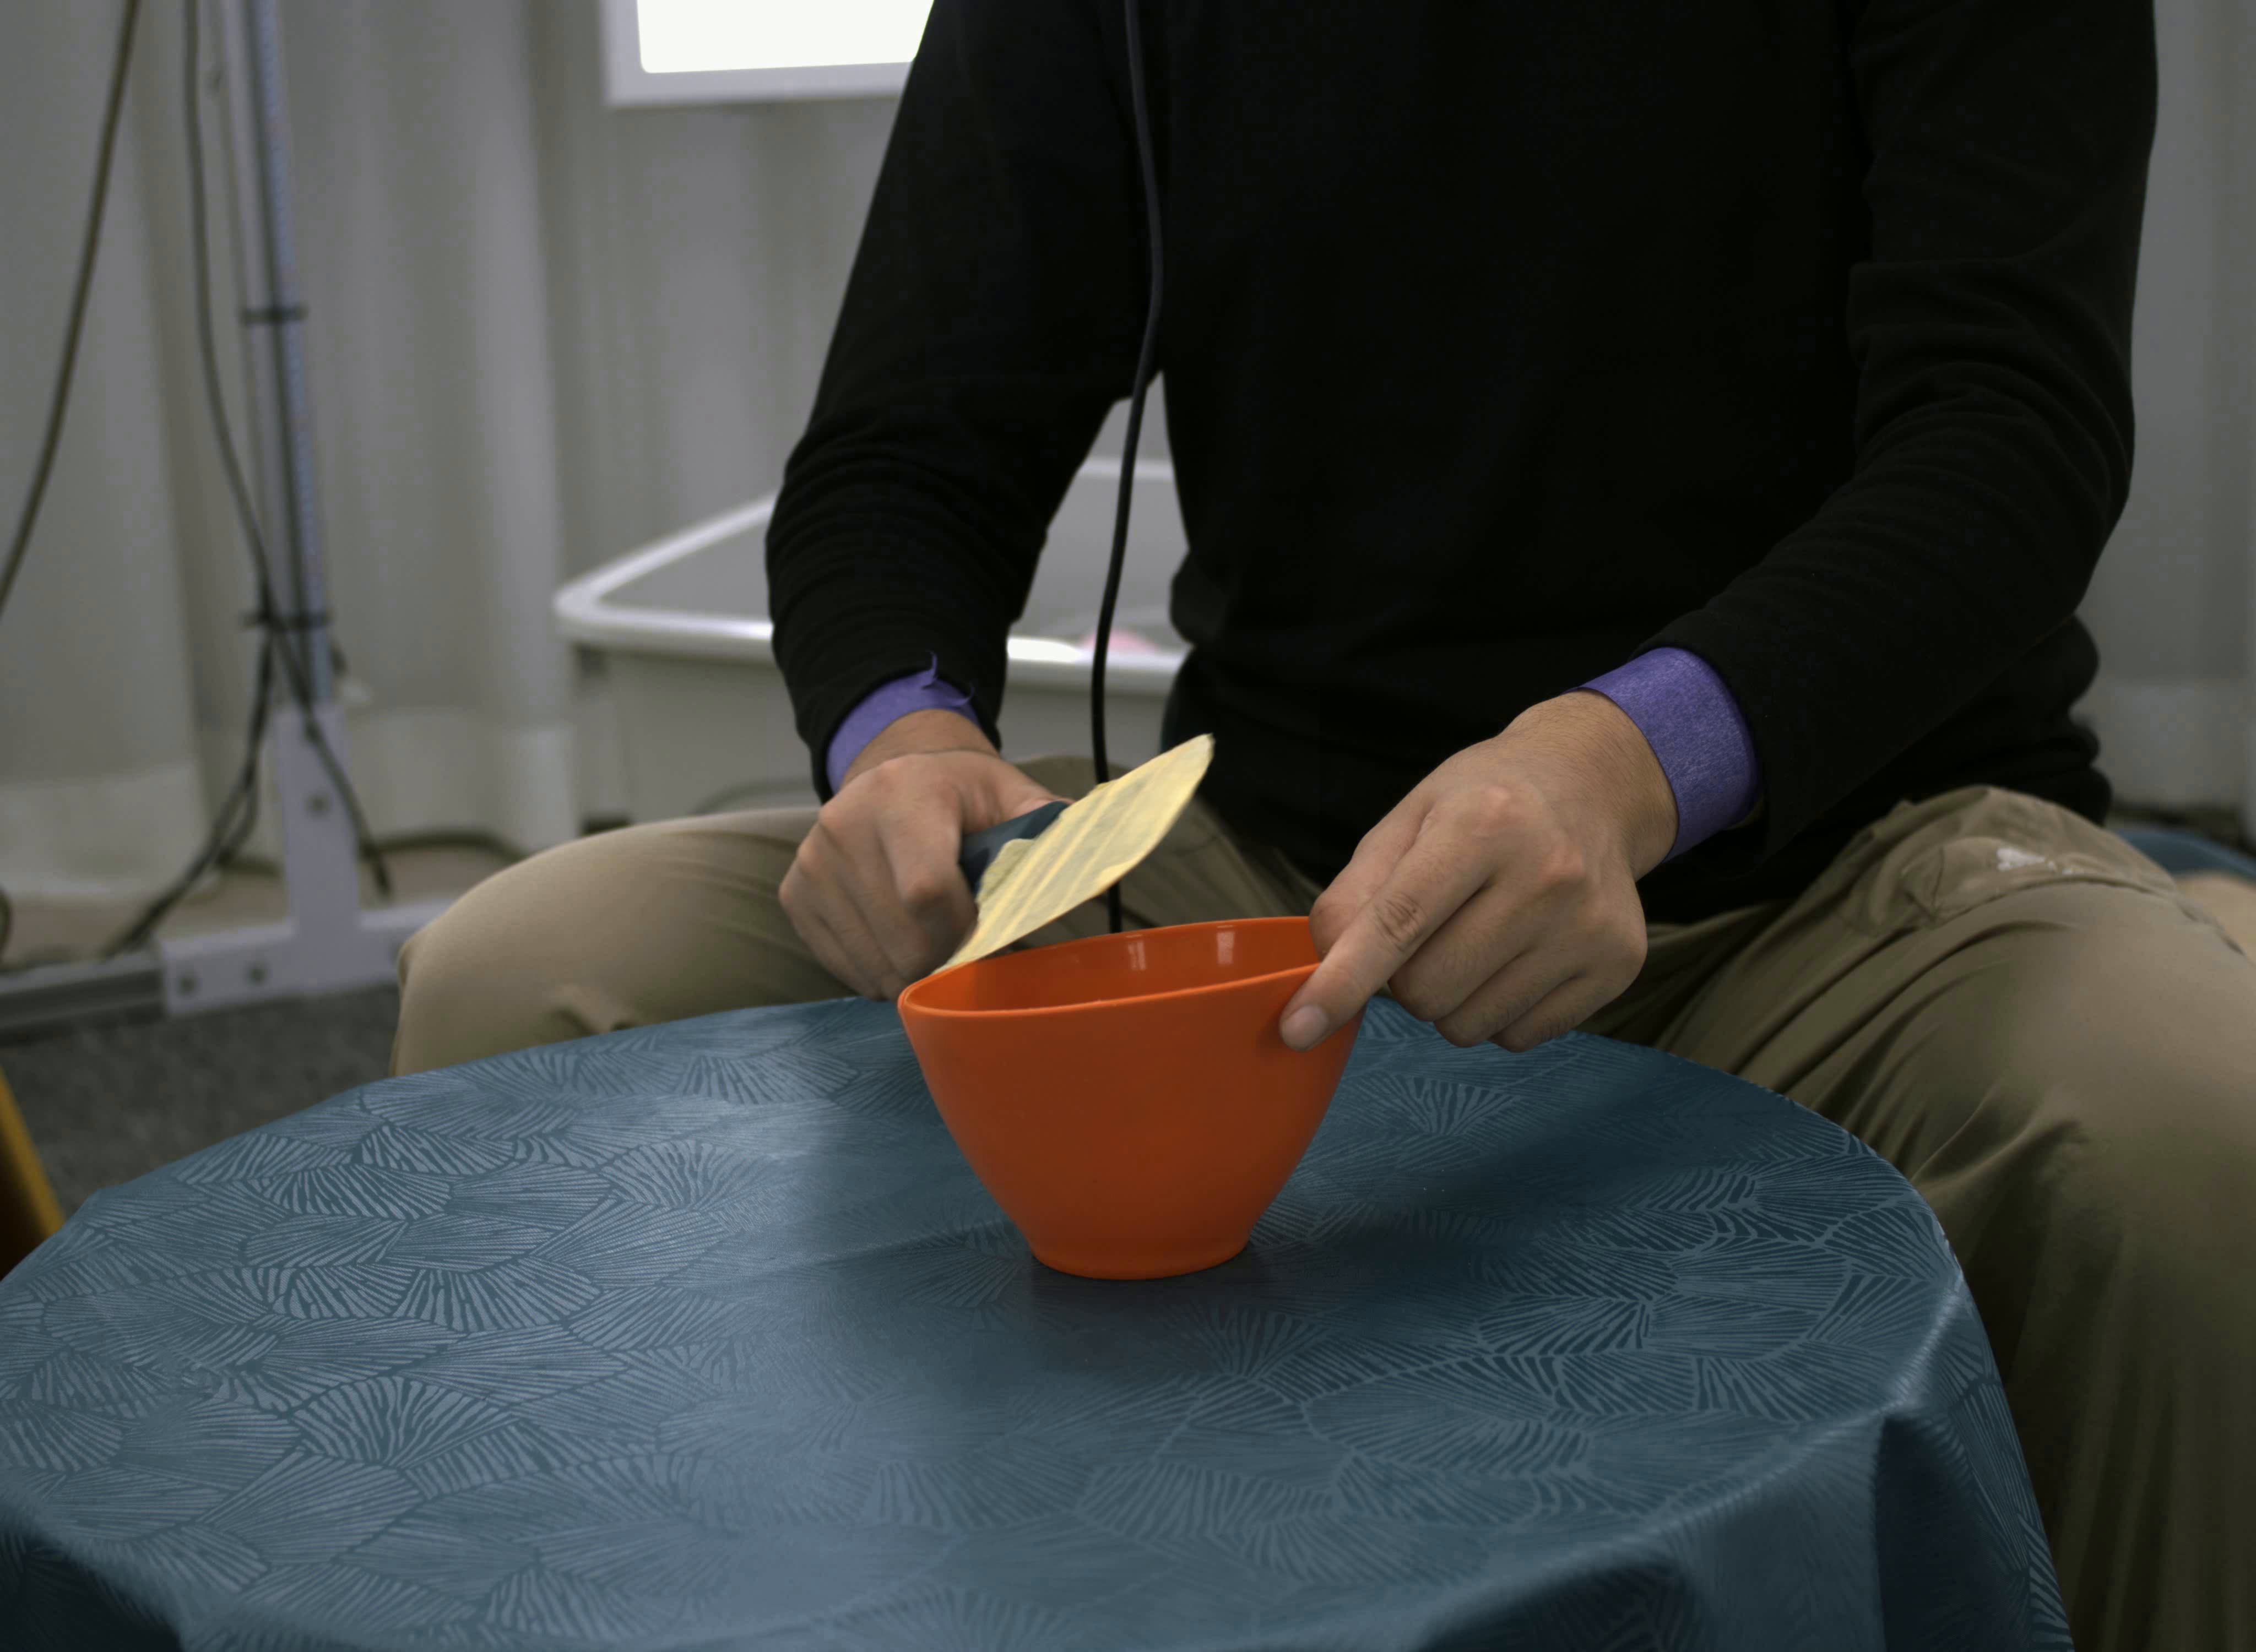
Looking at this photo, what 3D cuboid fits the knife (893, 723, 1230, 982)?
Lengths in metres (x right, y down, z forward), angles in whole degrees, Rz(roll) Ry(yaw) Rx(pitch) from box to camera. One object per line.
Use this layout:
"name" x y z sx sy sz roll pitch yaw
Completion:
"knife" -0.029 0.018 1.722 0.081 0.027 0.288 -50 7 -22

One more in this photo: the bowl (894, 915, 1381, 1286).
"bowl" 0.005 0.081 1.643 0.147 0.104 0.149 -4 14 1
